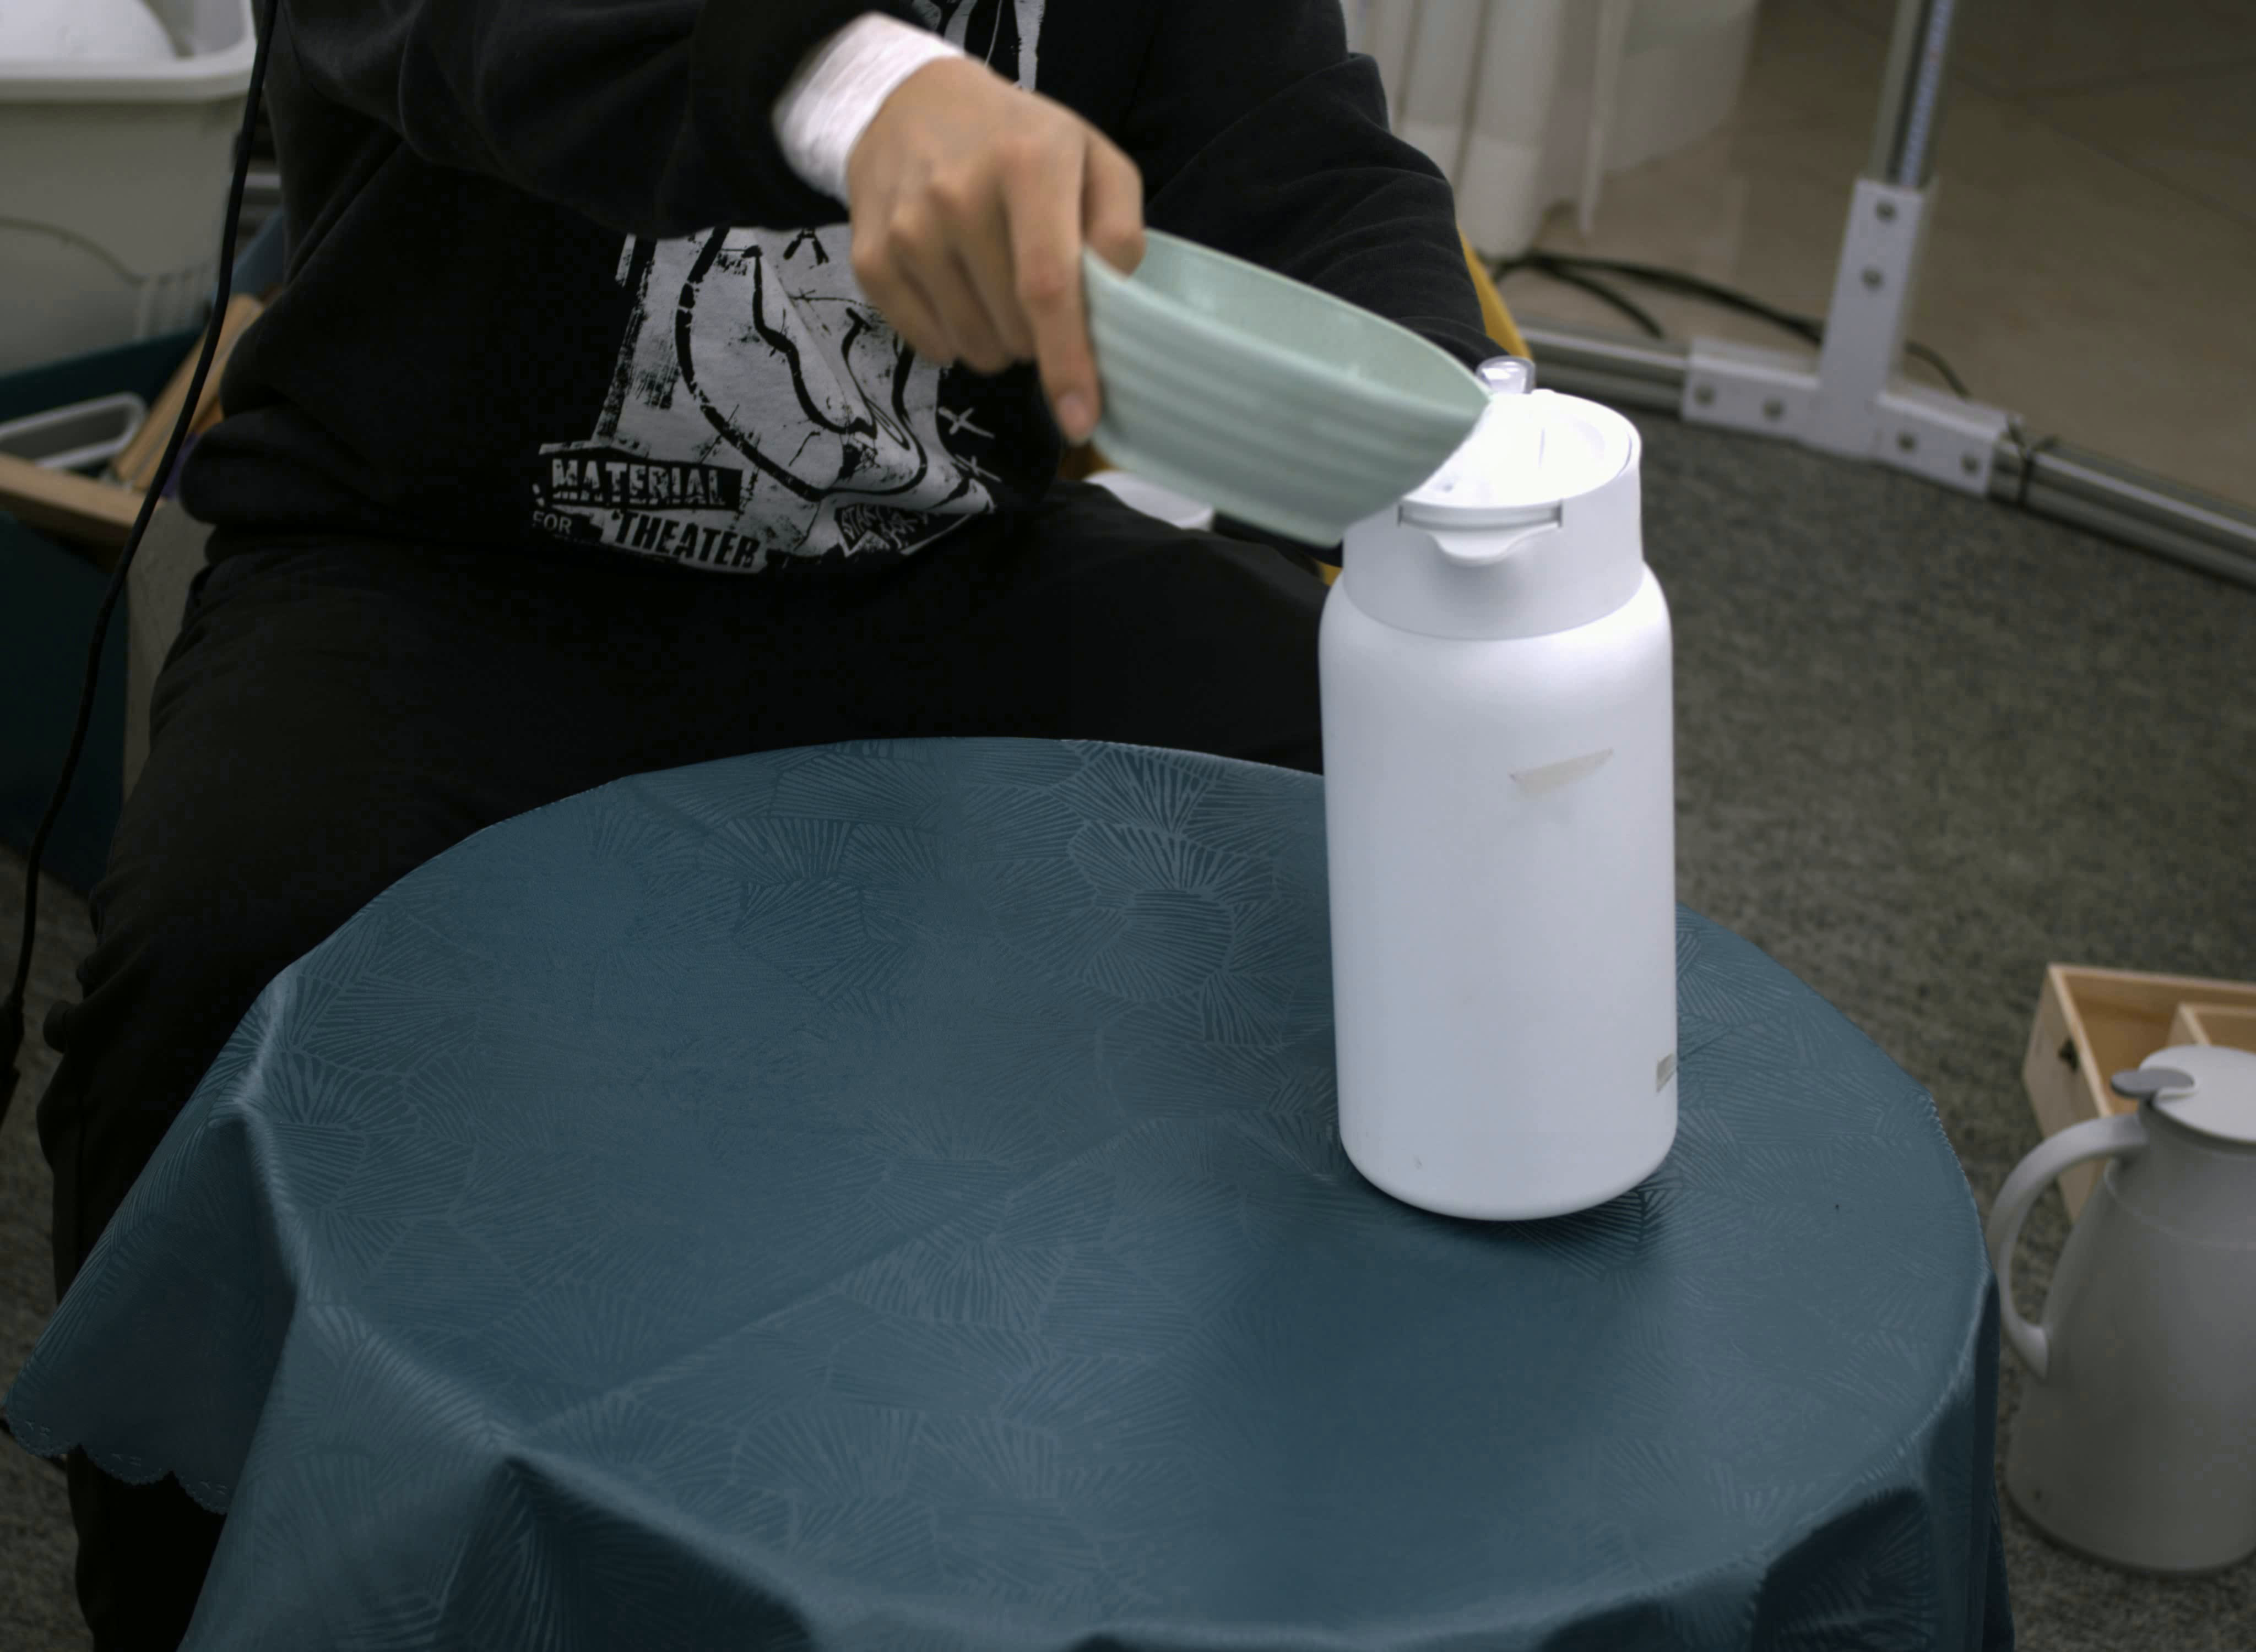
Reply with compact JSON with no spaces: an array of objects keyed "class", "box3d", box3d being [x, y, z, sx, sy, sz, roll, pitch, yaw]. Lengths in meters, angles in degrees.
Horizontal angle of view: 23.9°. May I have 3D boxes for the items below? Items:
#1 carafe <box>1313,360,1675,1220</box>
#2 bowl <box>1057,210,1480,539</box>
[{"class":"carafe","box3d":[0.124,-0.015,1.802,0.124,0.268,0.173,-2,26,9]},{"class":"bowl","box3d":[0.034,-0.135,1.648,0.151,0.058,0.152,22,13,-5]}]
